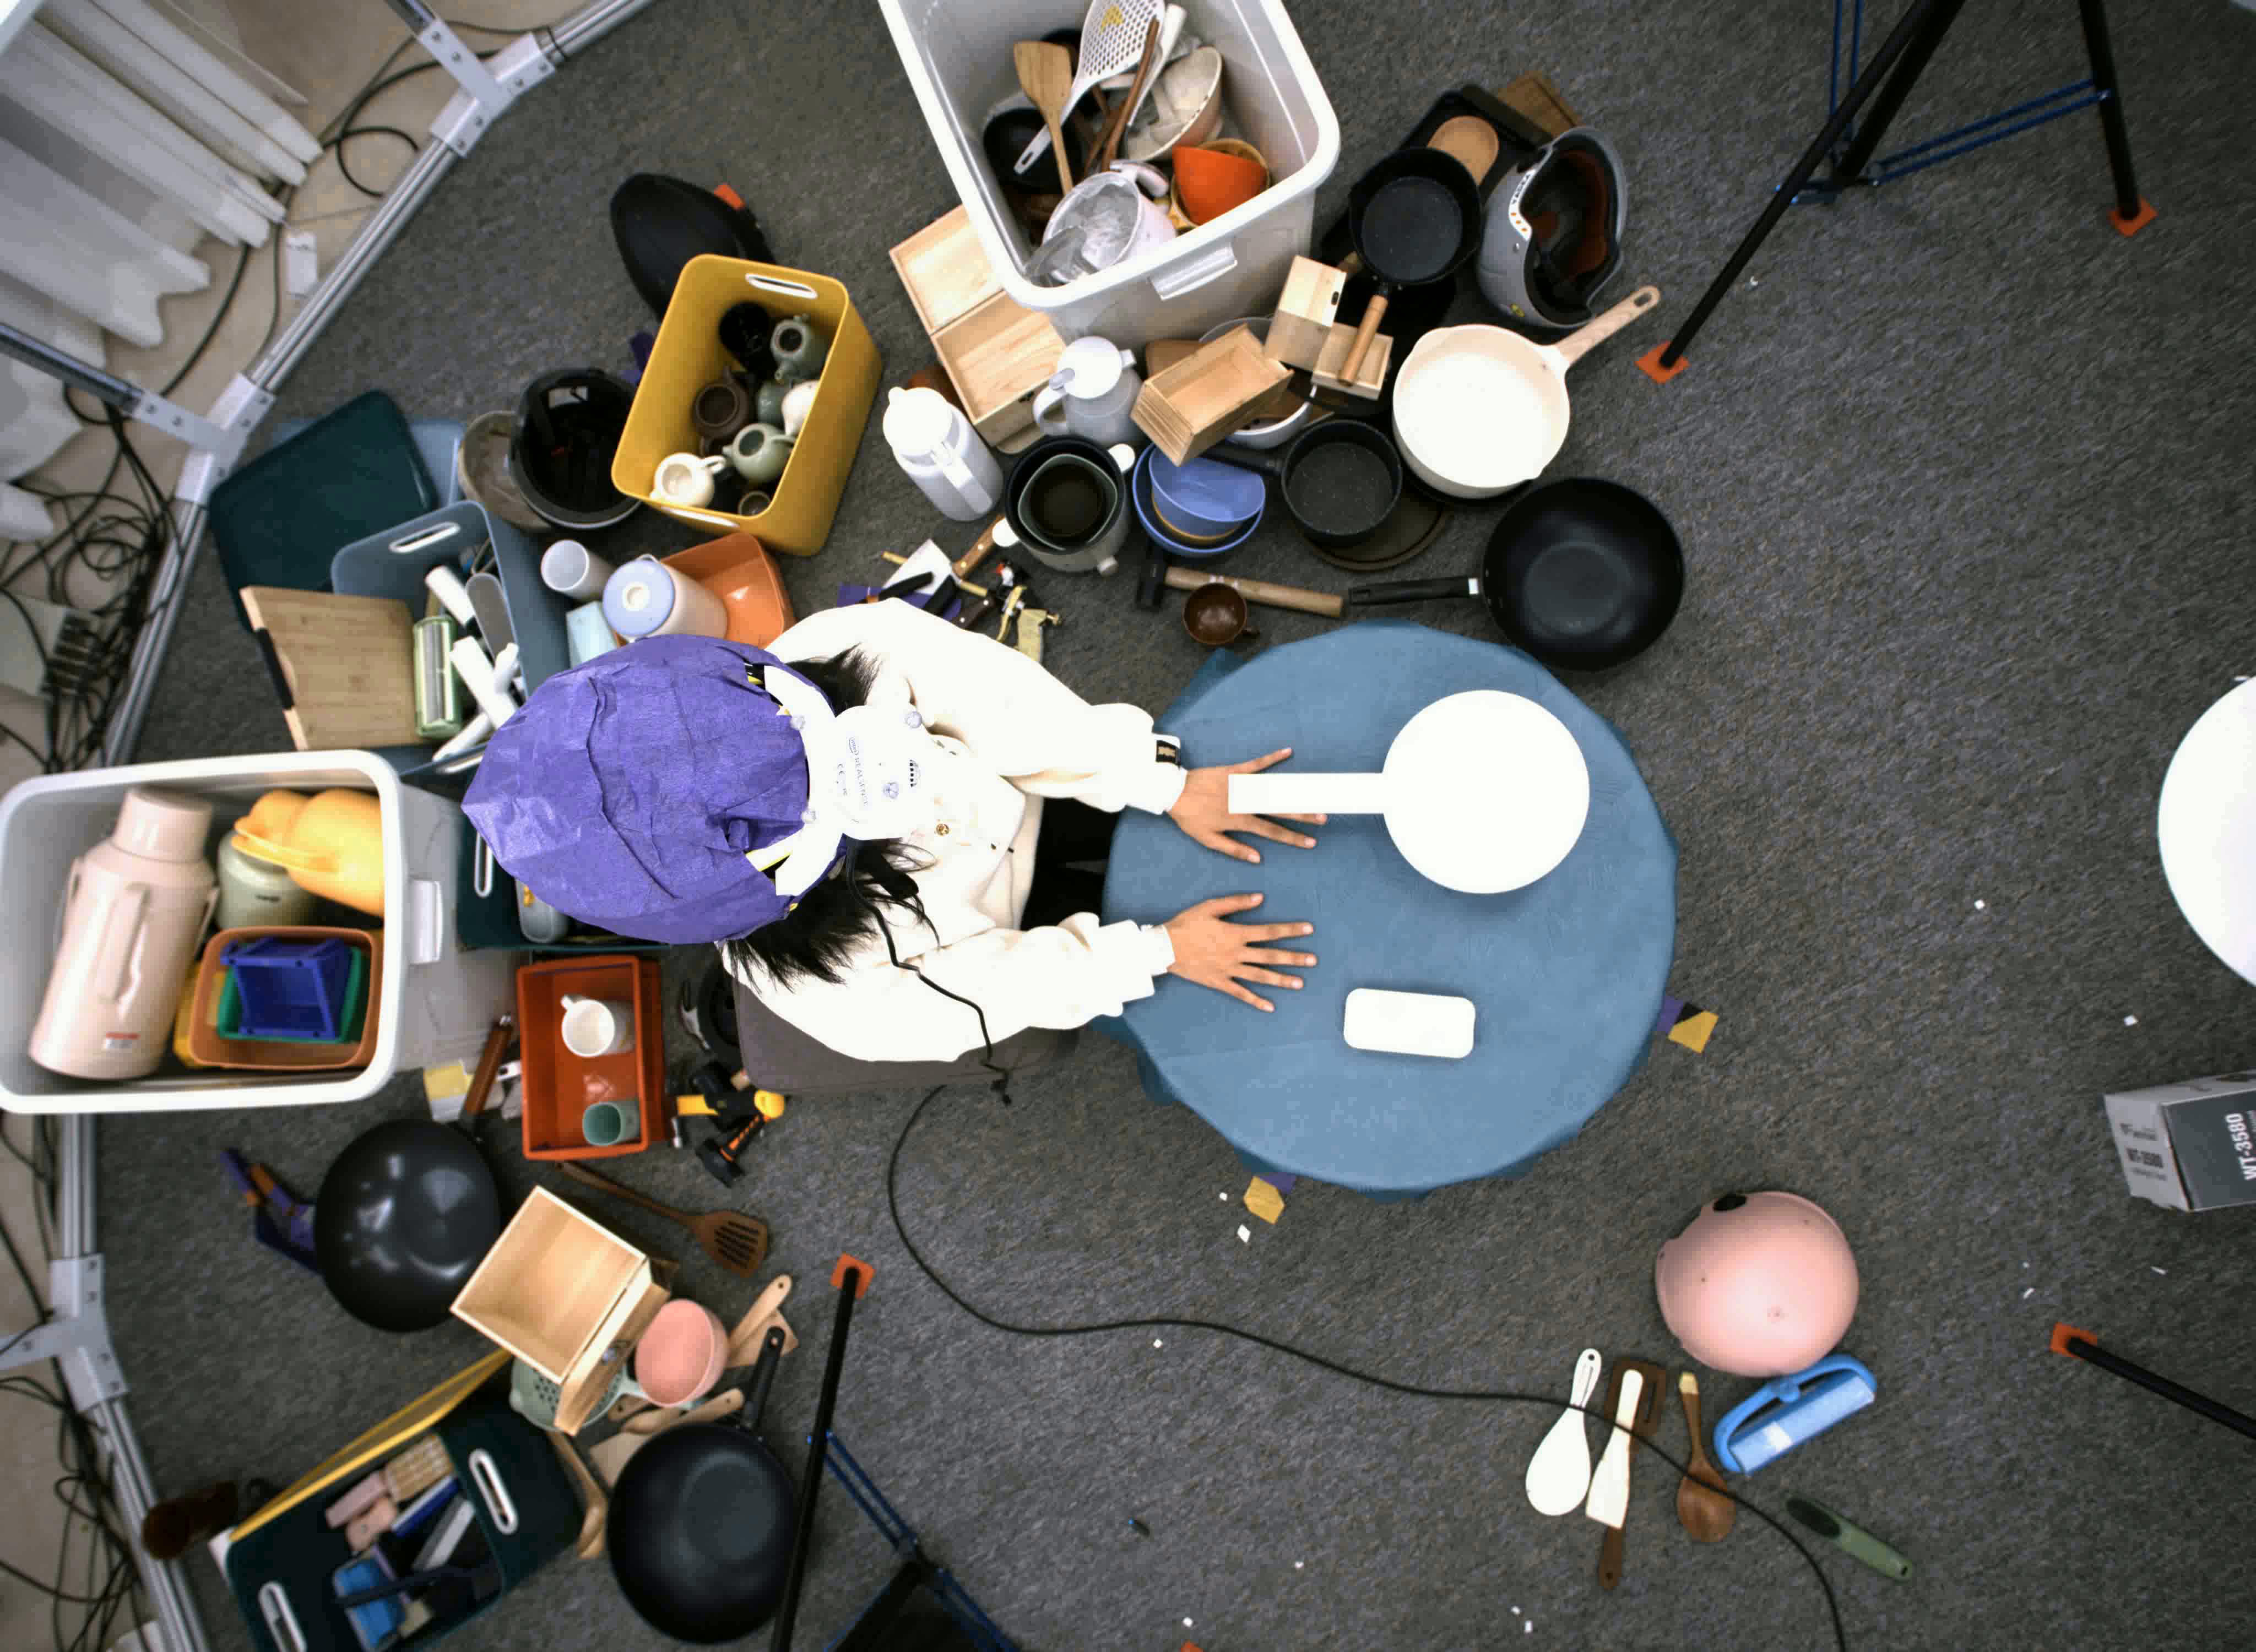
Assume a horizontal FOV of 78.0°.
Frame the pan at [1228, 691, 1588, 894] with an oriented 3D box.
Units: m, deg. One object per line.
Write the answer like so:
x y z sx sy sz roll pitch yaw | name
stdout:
0.284 -0.030 1.414 0.356 0.102 0.200 -1 85 13 | pan

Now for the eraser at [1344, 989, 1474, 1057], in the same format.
0.291 0.202 1.434 0.132 0.034 0.063 4 84 10 | eraser
